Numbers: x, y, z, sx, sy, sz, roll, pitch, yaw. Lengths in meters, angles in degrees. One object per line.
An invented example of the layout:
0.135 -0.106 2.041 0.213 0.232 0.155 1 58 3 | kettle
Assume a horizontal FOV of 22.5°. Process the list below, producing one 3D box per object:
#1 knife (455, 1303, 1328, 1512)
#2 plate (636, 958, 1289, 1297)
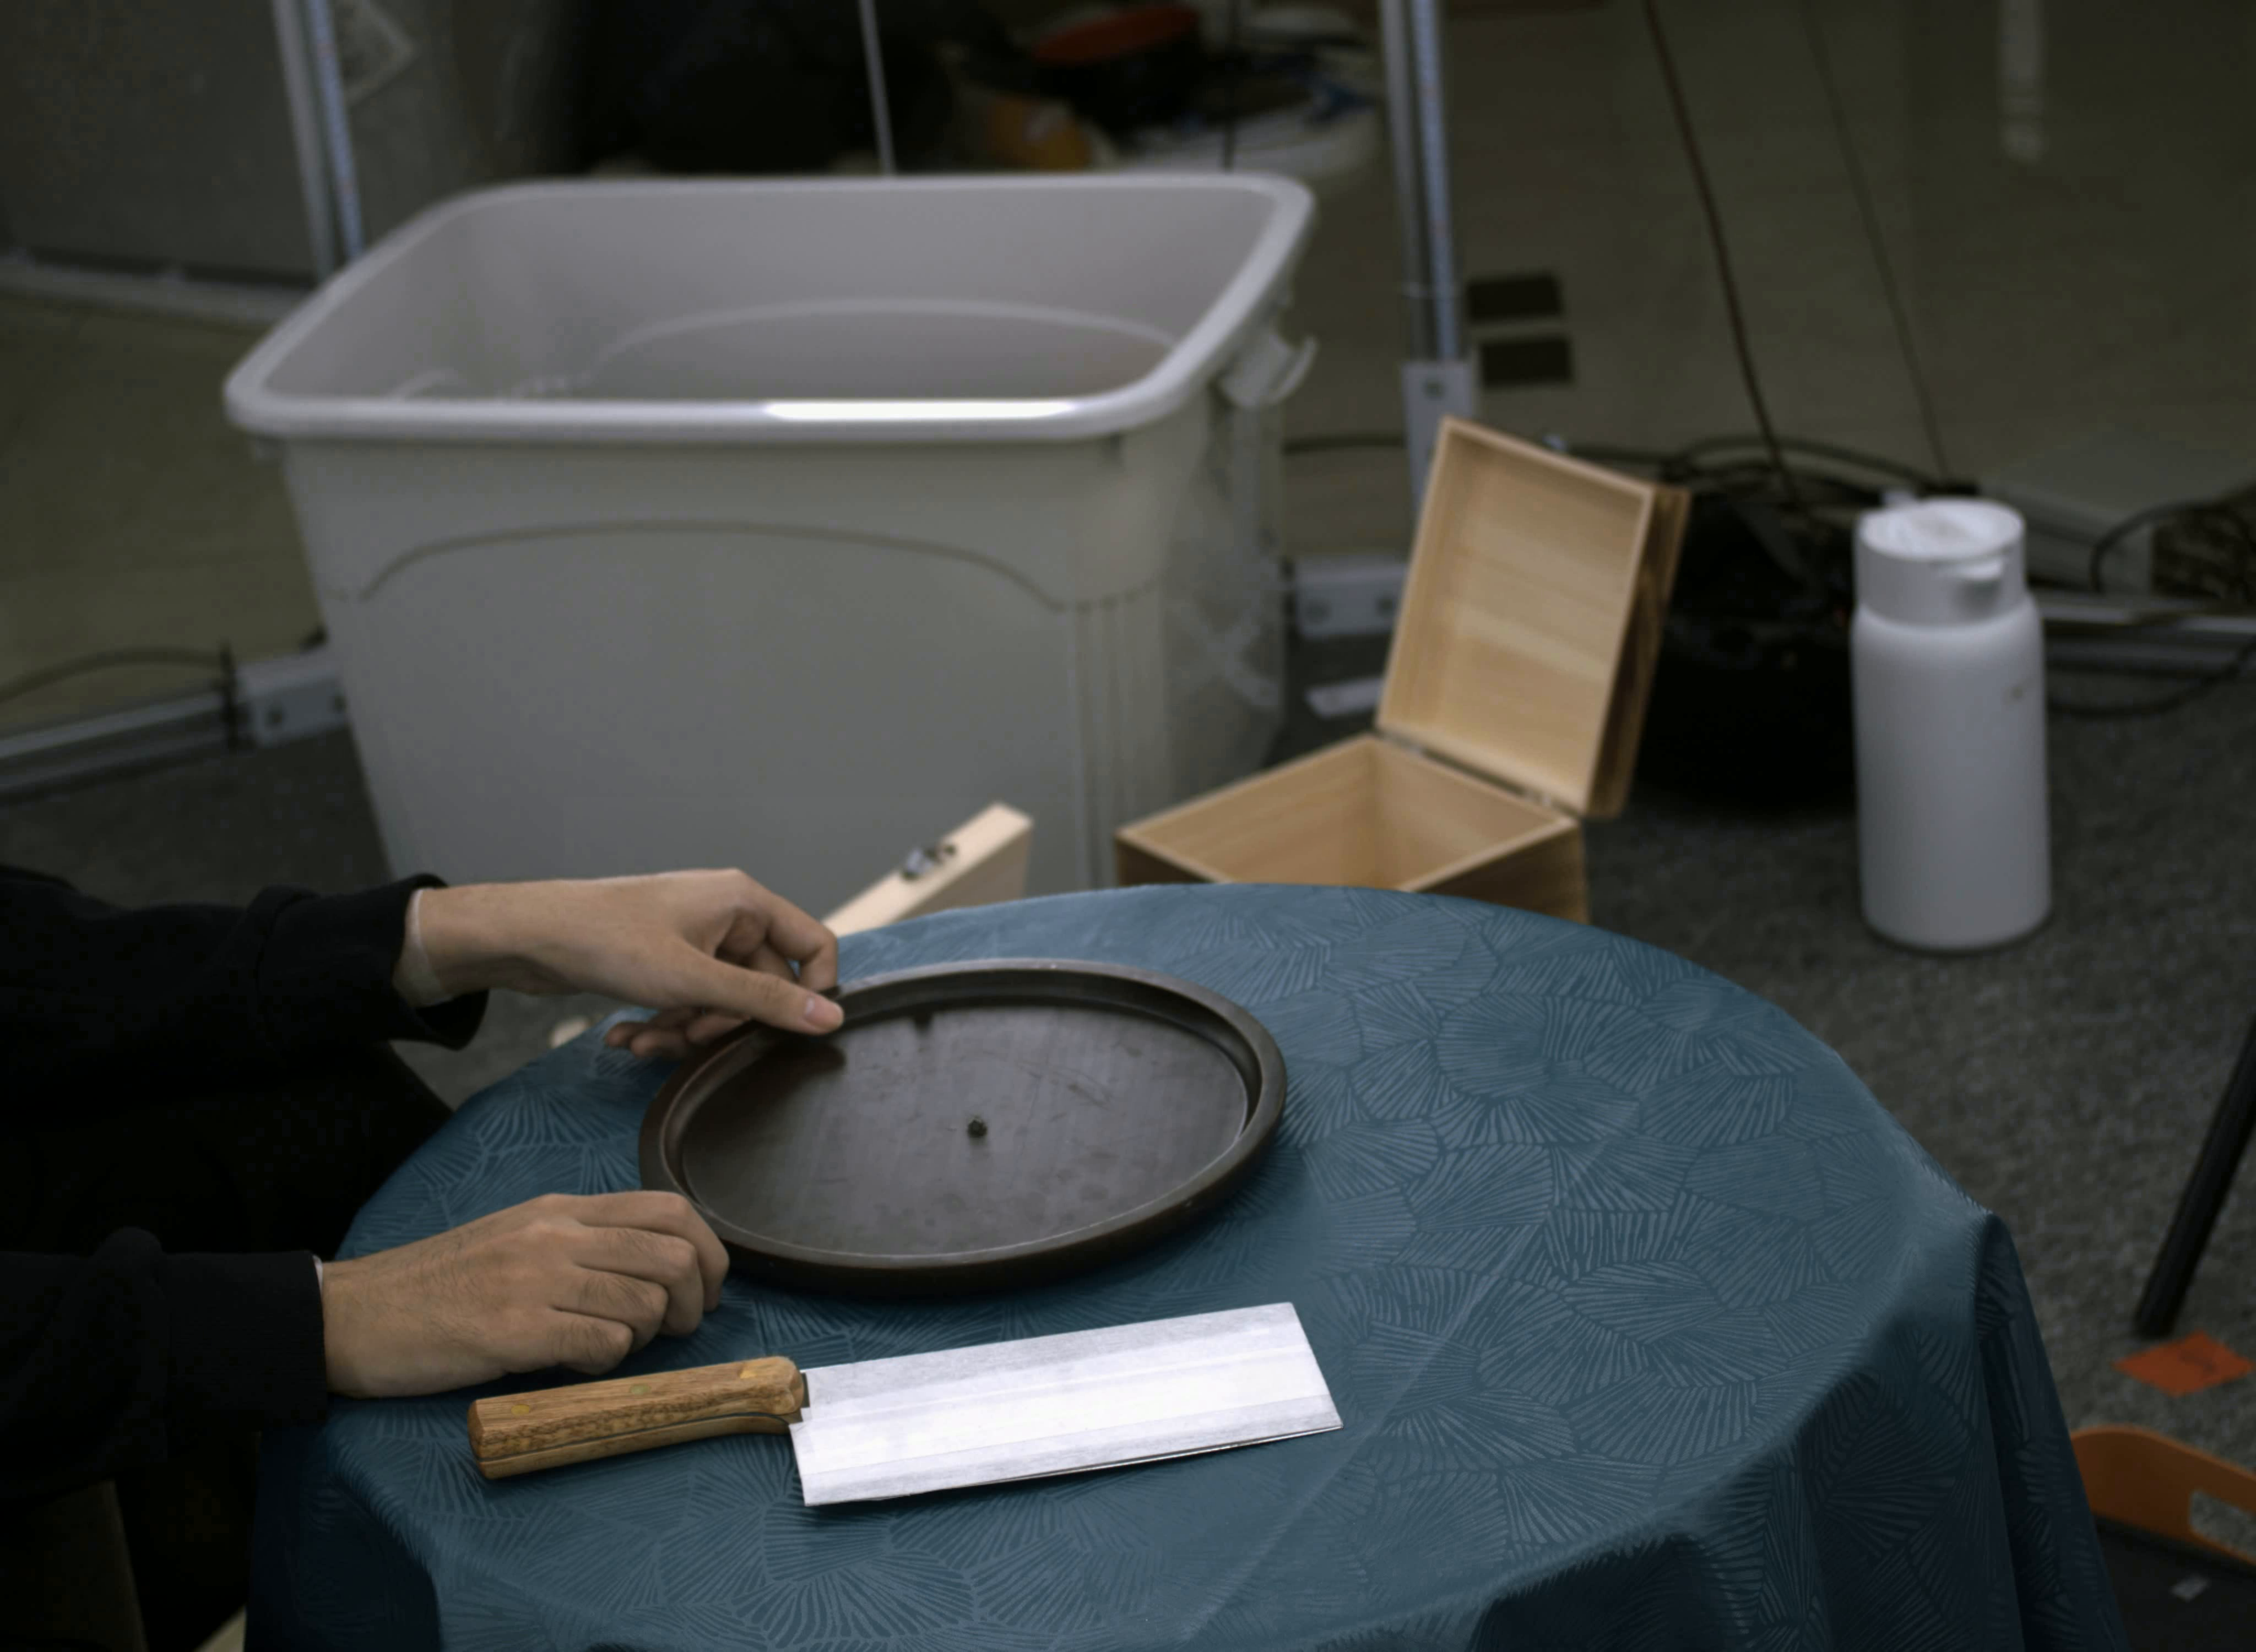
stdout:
-0.082 0.210 1.998 0.305 0.021 0.091 -7 27 -7 | knife
-0.063 0.115 2.184 0.254 0.029 0.251 -5 24 2 | plate
